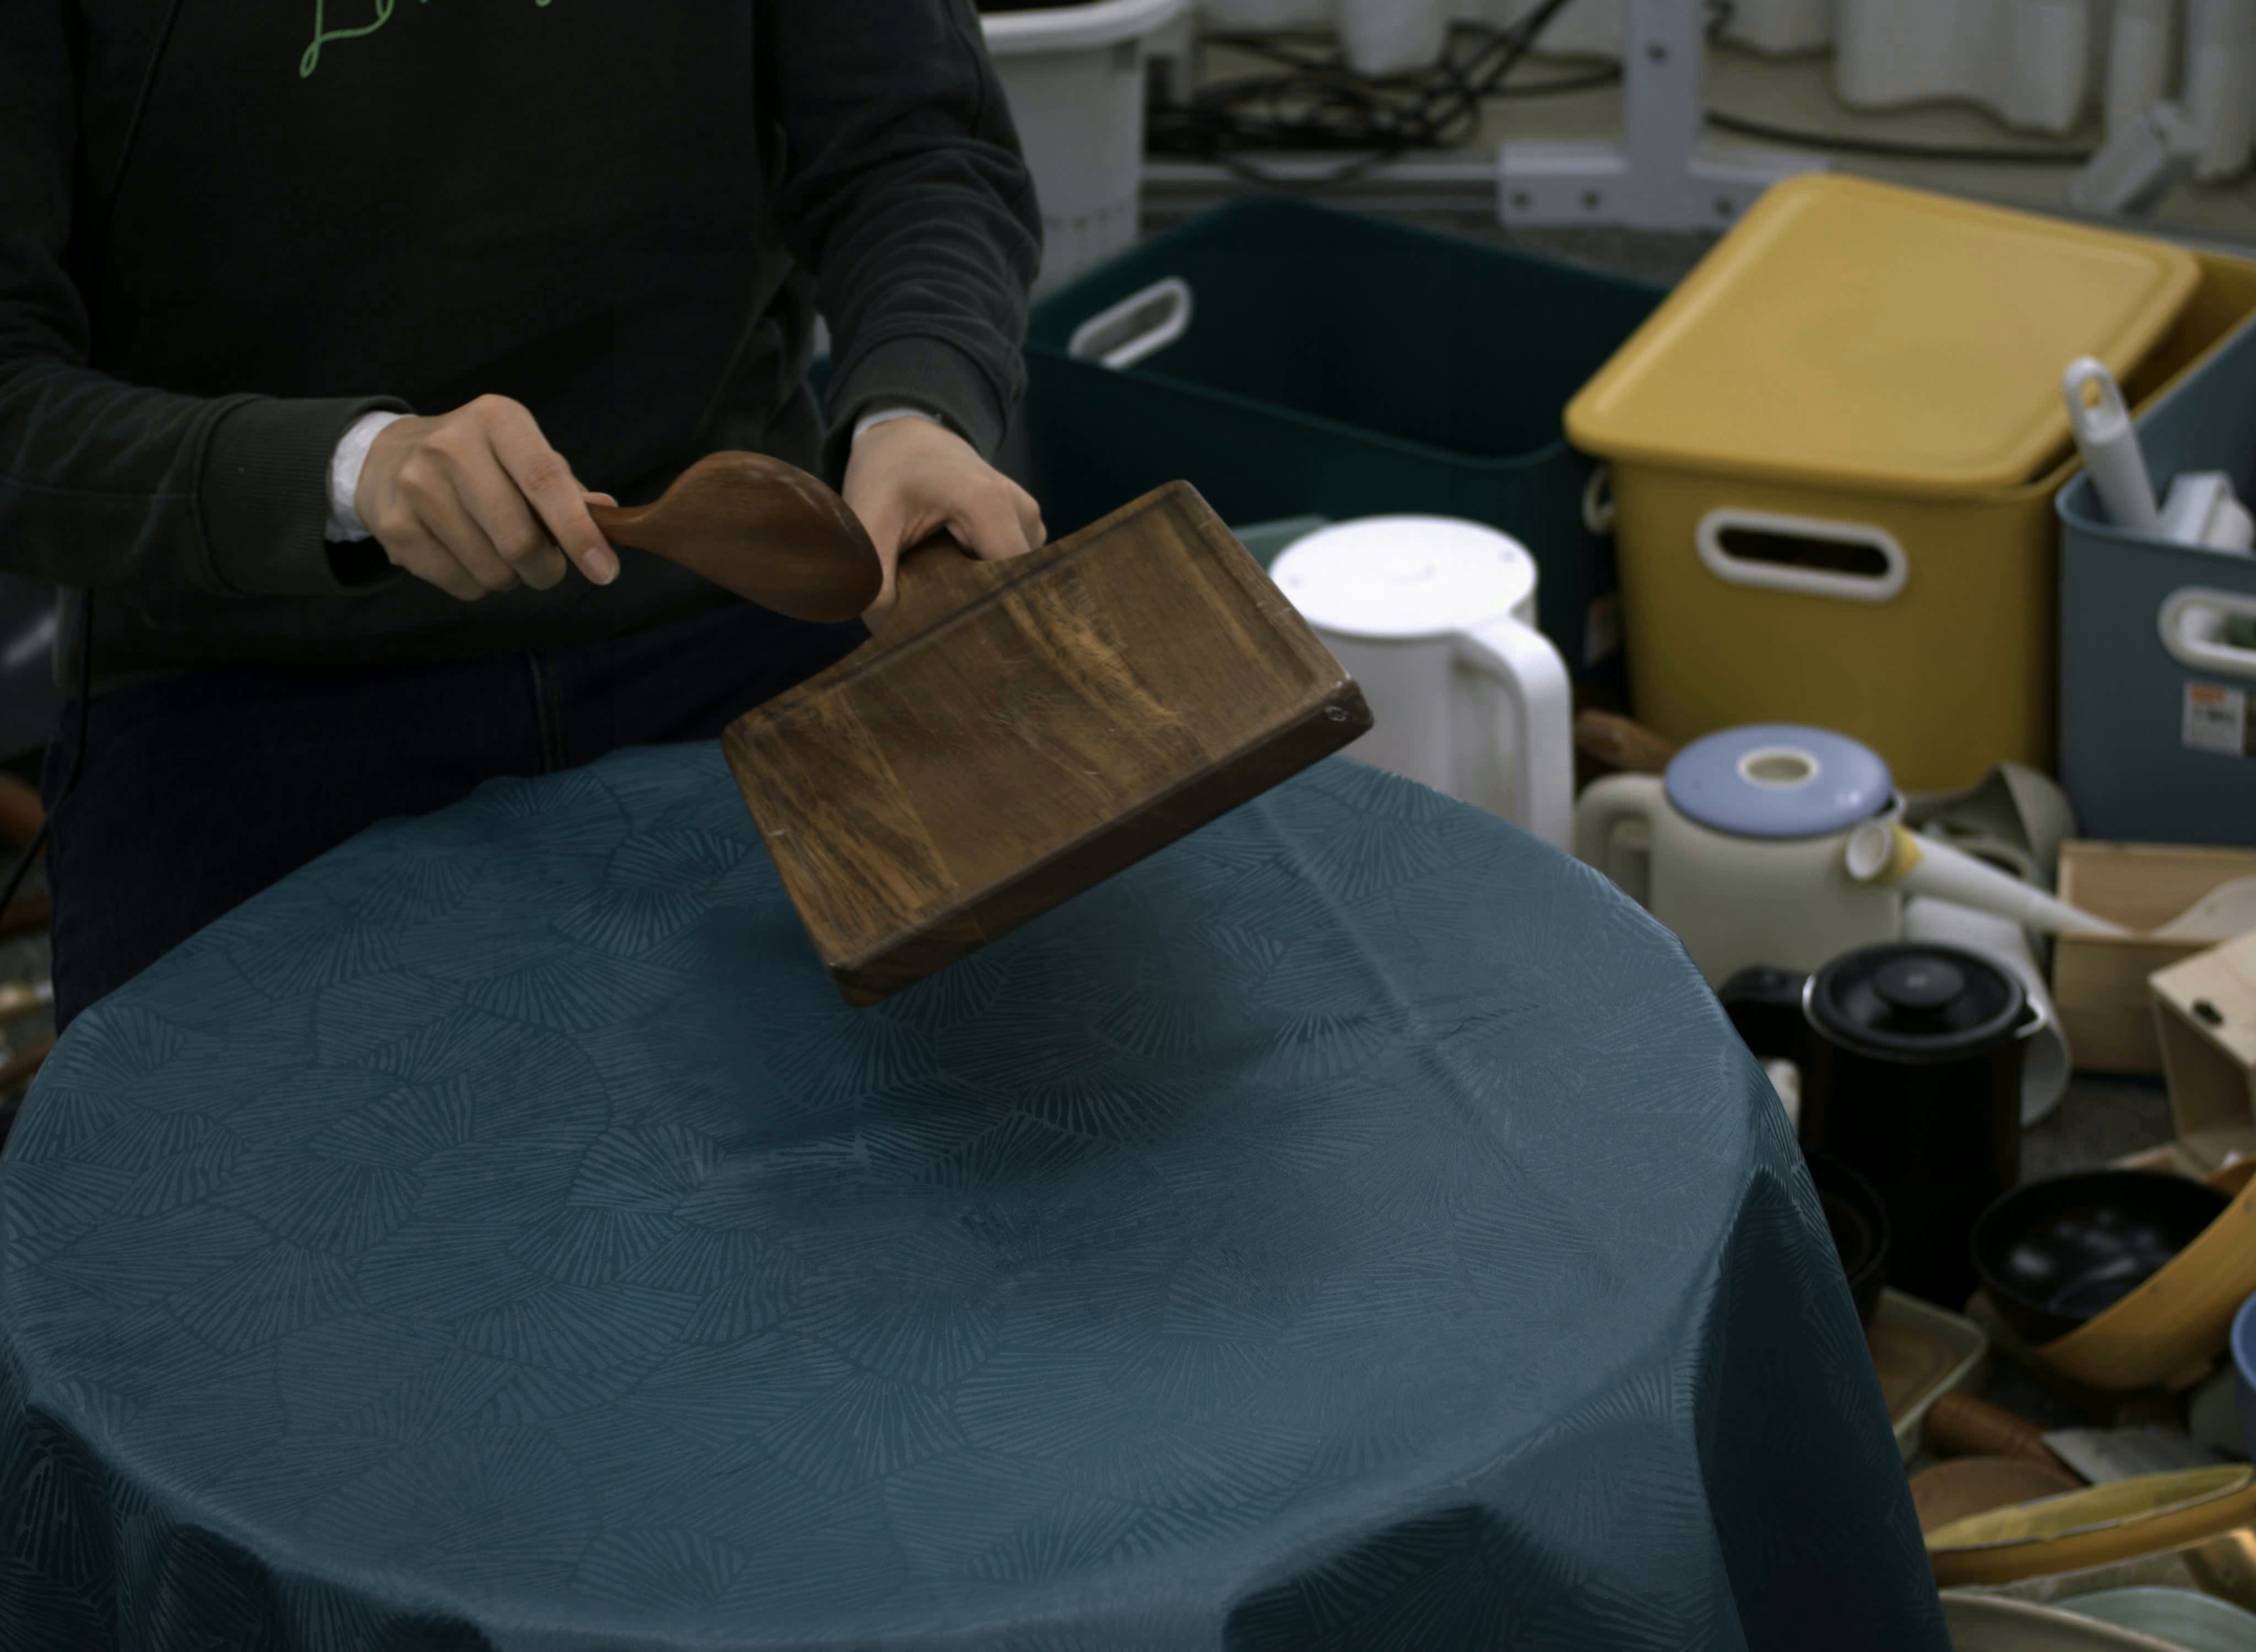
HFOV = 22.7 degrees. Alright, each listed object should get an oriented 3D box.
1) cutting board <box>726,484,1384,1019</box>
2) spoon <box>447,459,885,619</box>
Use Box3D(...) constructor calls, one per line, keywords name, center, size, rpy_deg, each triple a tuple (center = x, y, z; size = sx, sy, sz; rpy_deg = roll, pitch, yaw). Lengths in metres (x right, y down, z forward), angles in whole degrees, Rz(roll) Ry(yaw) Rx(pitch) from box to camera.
Box3D(name="cutting board", center=(-0.041, -0.047, 1.968), size=(0.201, 0.023, 0.355), rpy_deg=(-30, 22, -2))
Box3D(name="spoon", center=(-0.169, -0.103, 1.994), size=(0.214, 0.075, 0.017), rpy_deg=(8, 51, 43))
